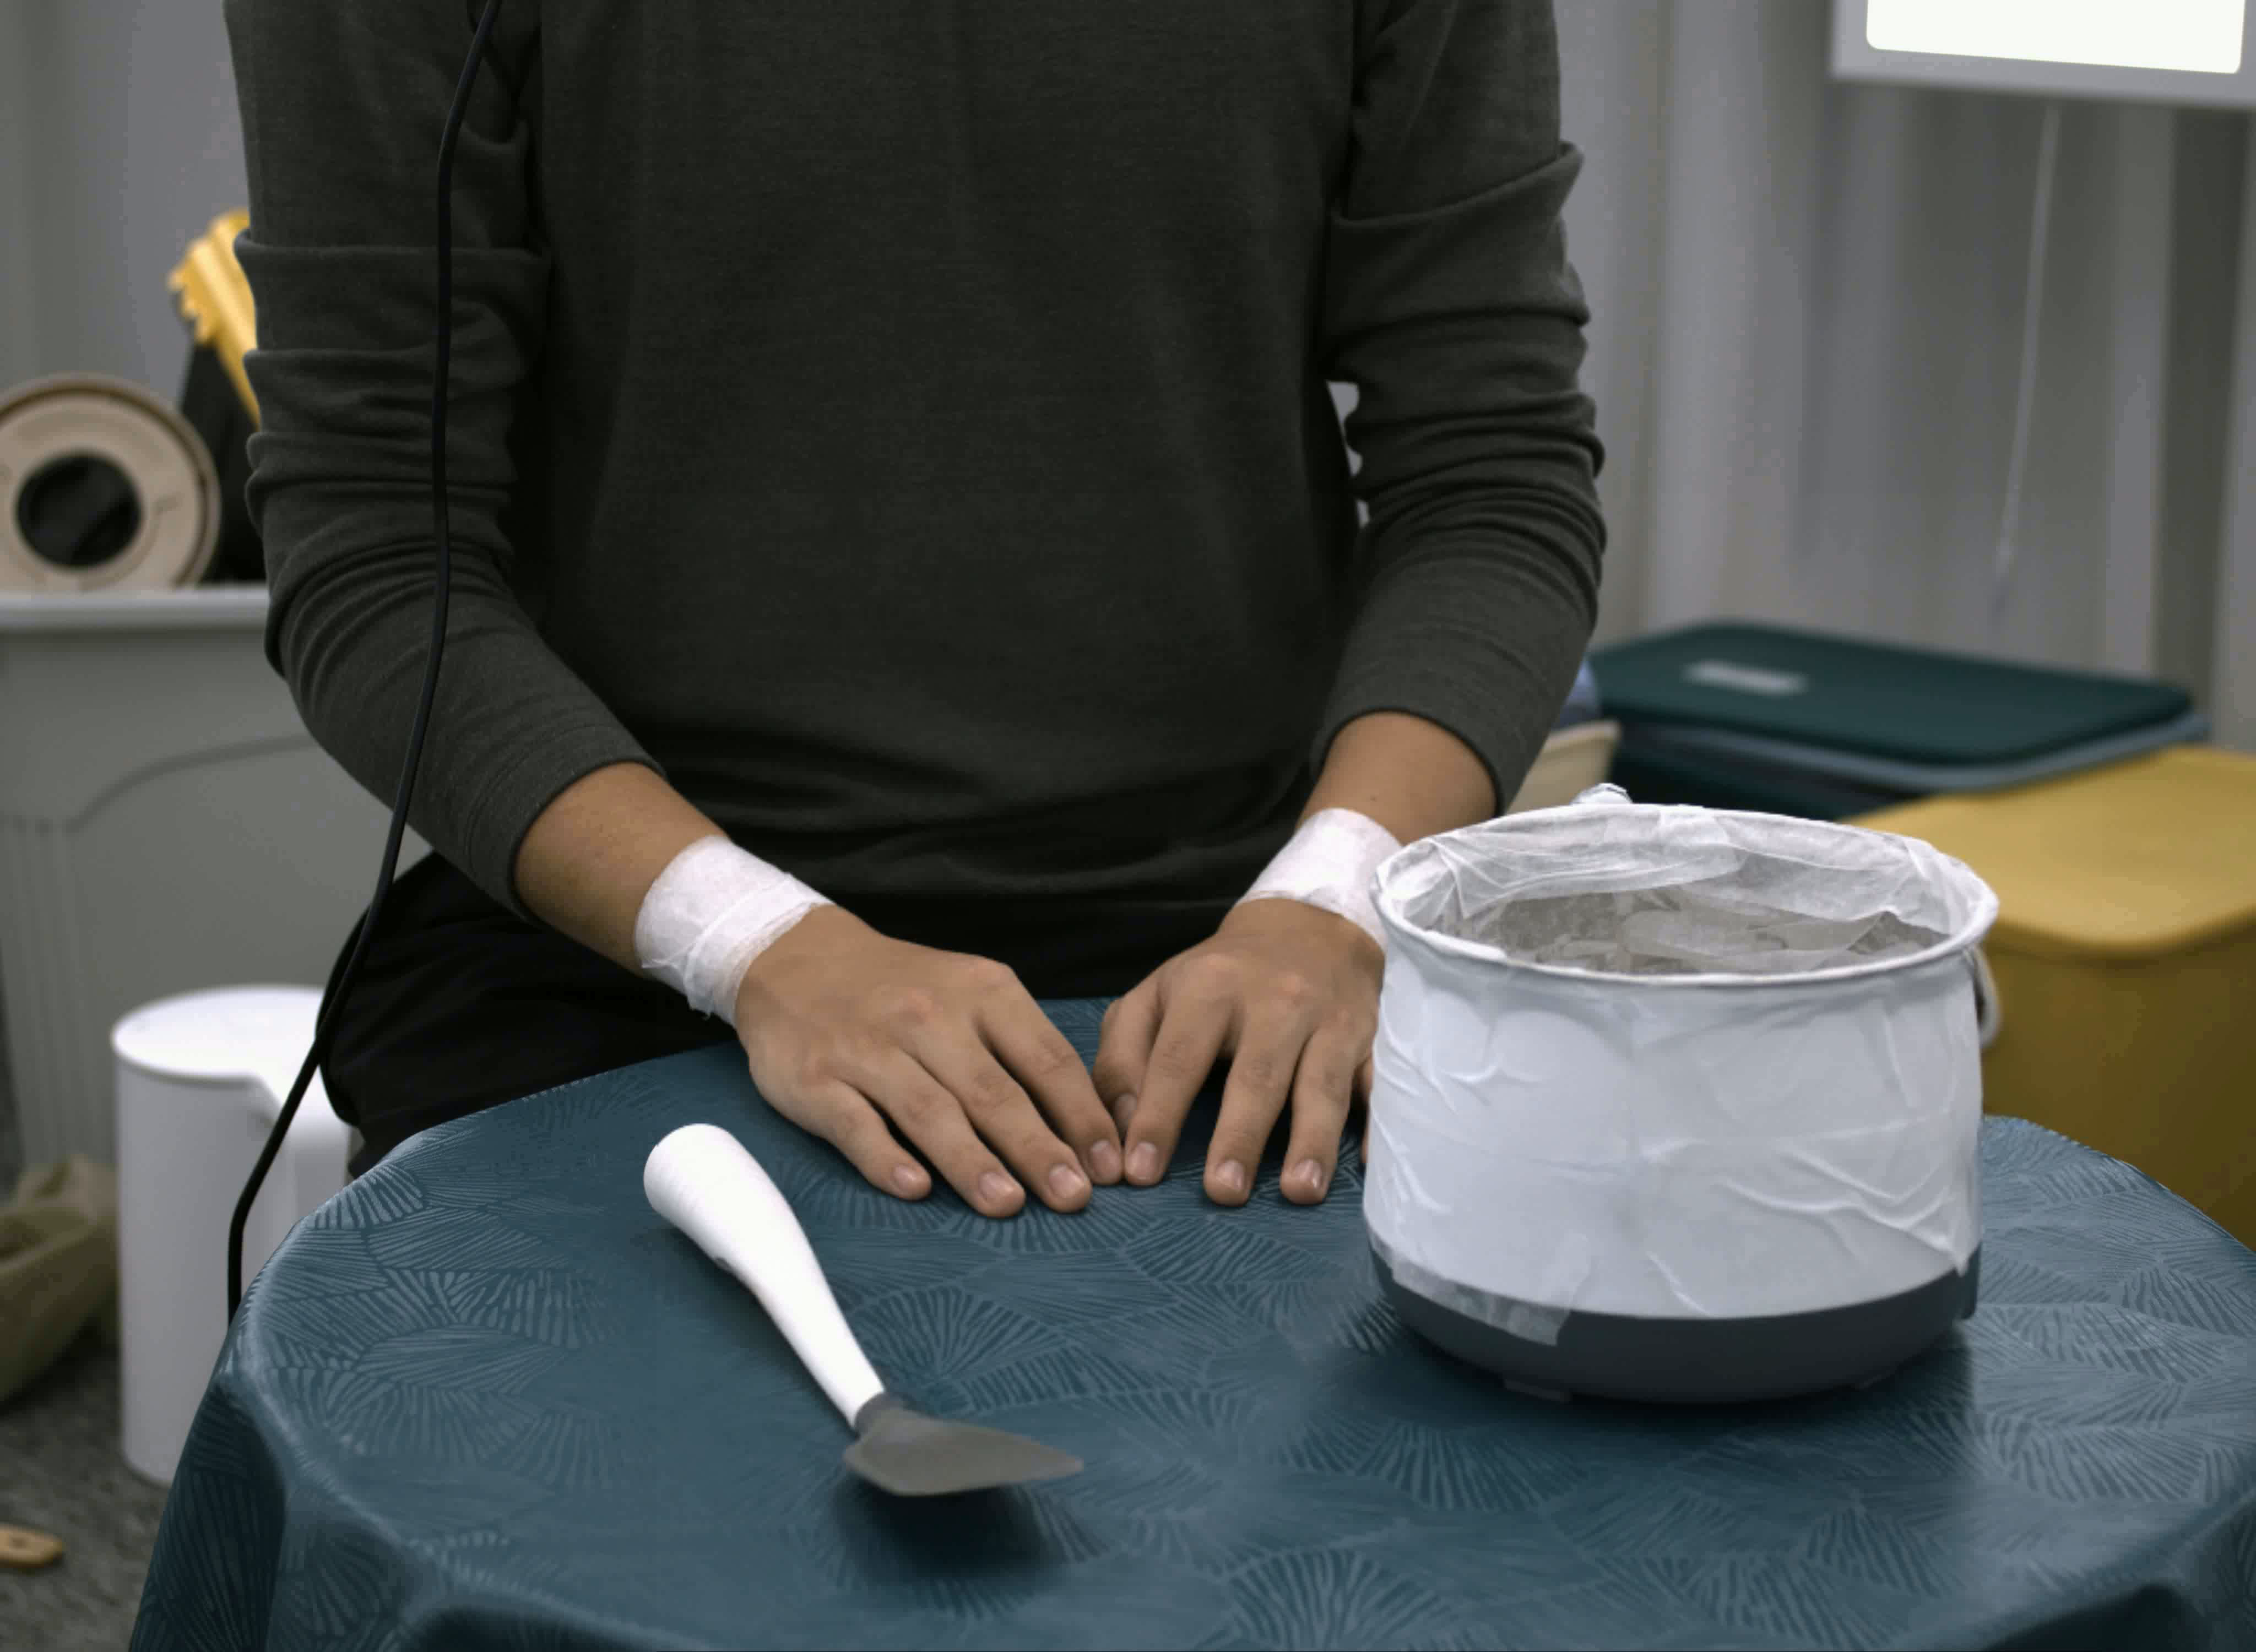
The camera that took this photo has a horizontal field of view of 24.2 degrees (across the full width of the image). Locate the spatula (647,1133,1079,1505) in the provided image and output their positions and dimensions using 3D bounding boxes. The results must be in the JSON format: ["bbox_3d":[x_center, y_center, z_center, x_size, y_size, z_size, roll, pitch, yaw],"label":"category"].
[{"bbox_3d":[-0.082,0.141,1.456,0.059,0.032,0.284,-1,14,-20],"label":"spatula"}]

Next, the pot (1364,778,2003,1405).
[{"bbox_3d":[0.151,0.071,1.522,0.178,0.138,0.232,-2,16,-9],"label":"pot"}]
